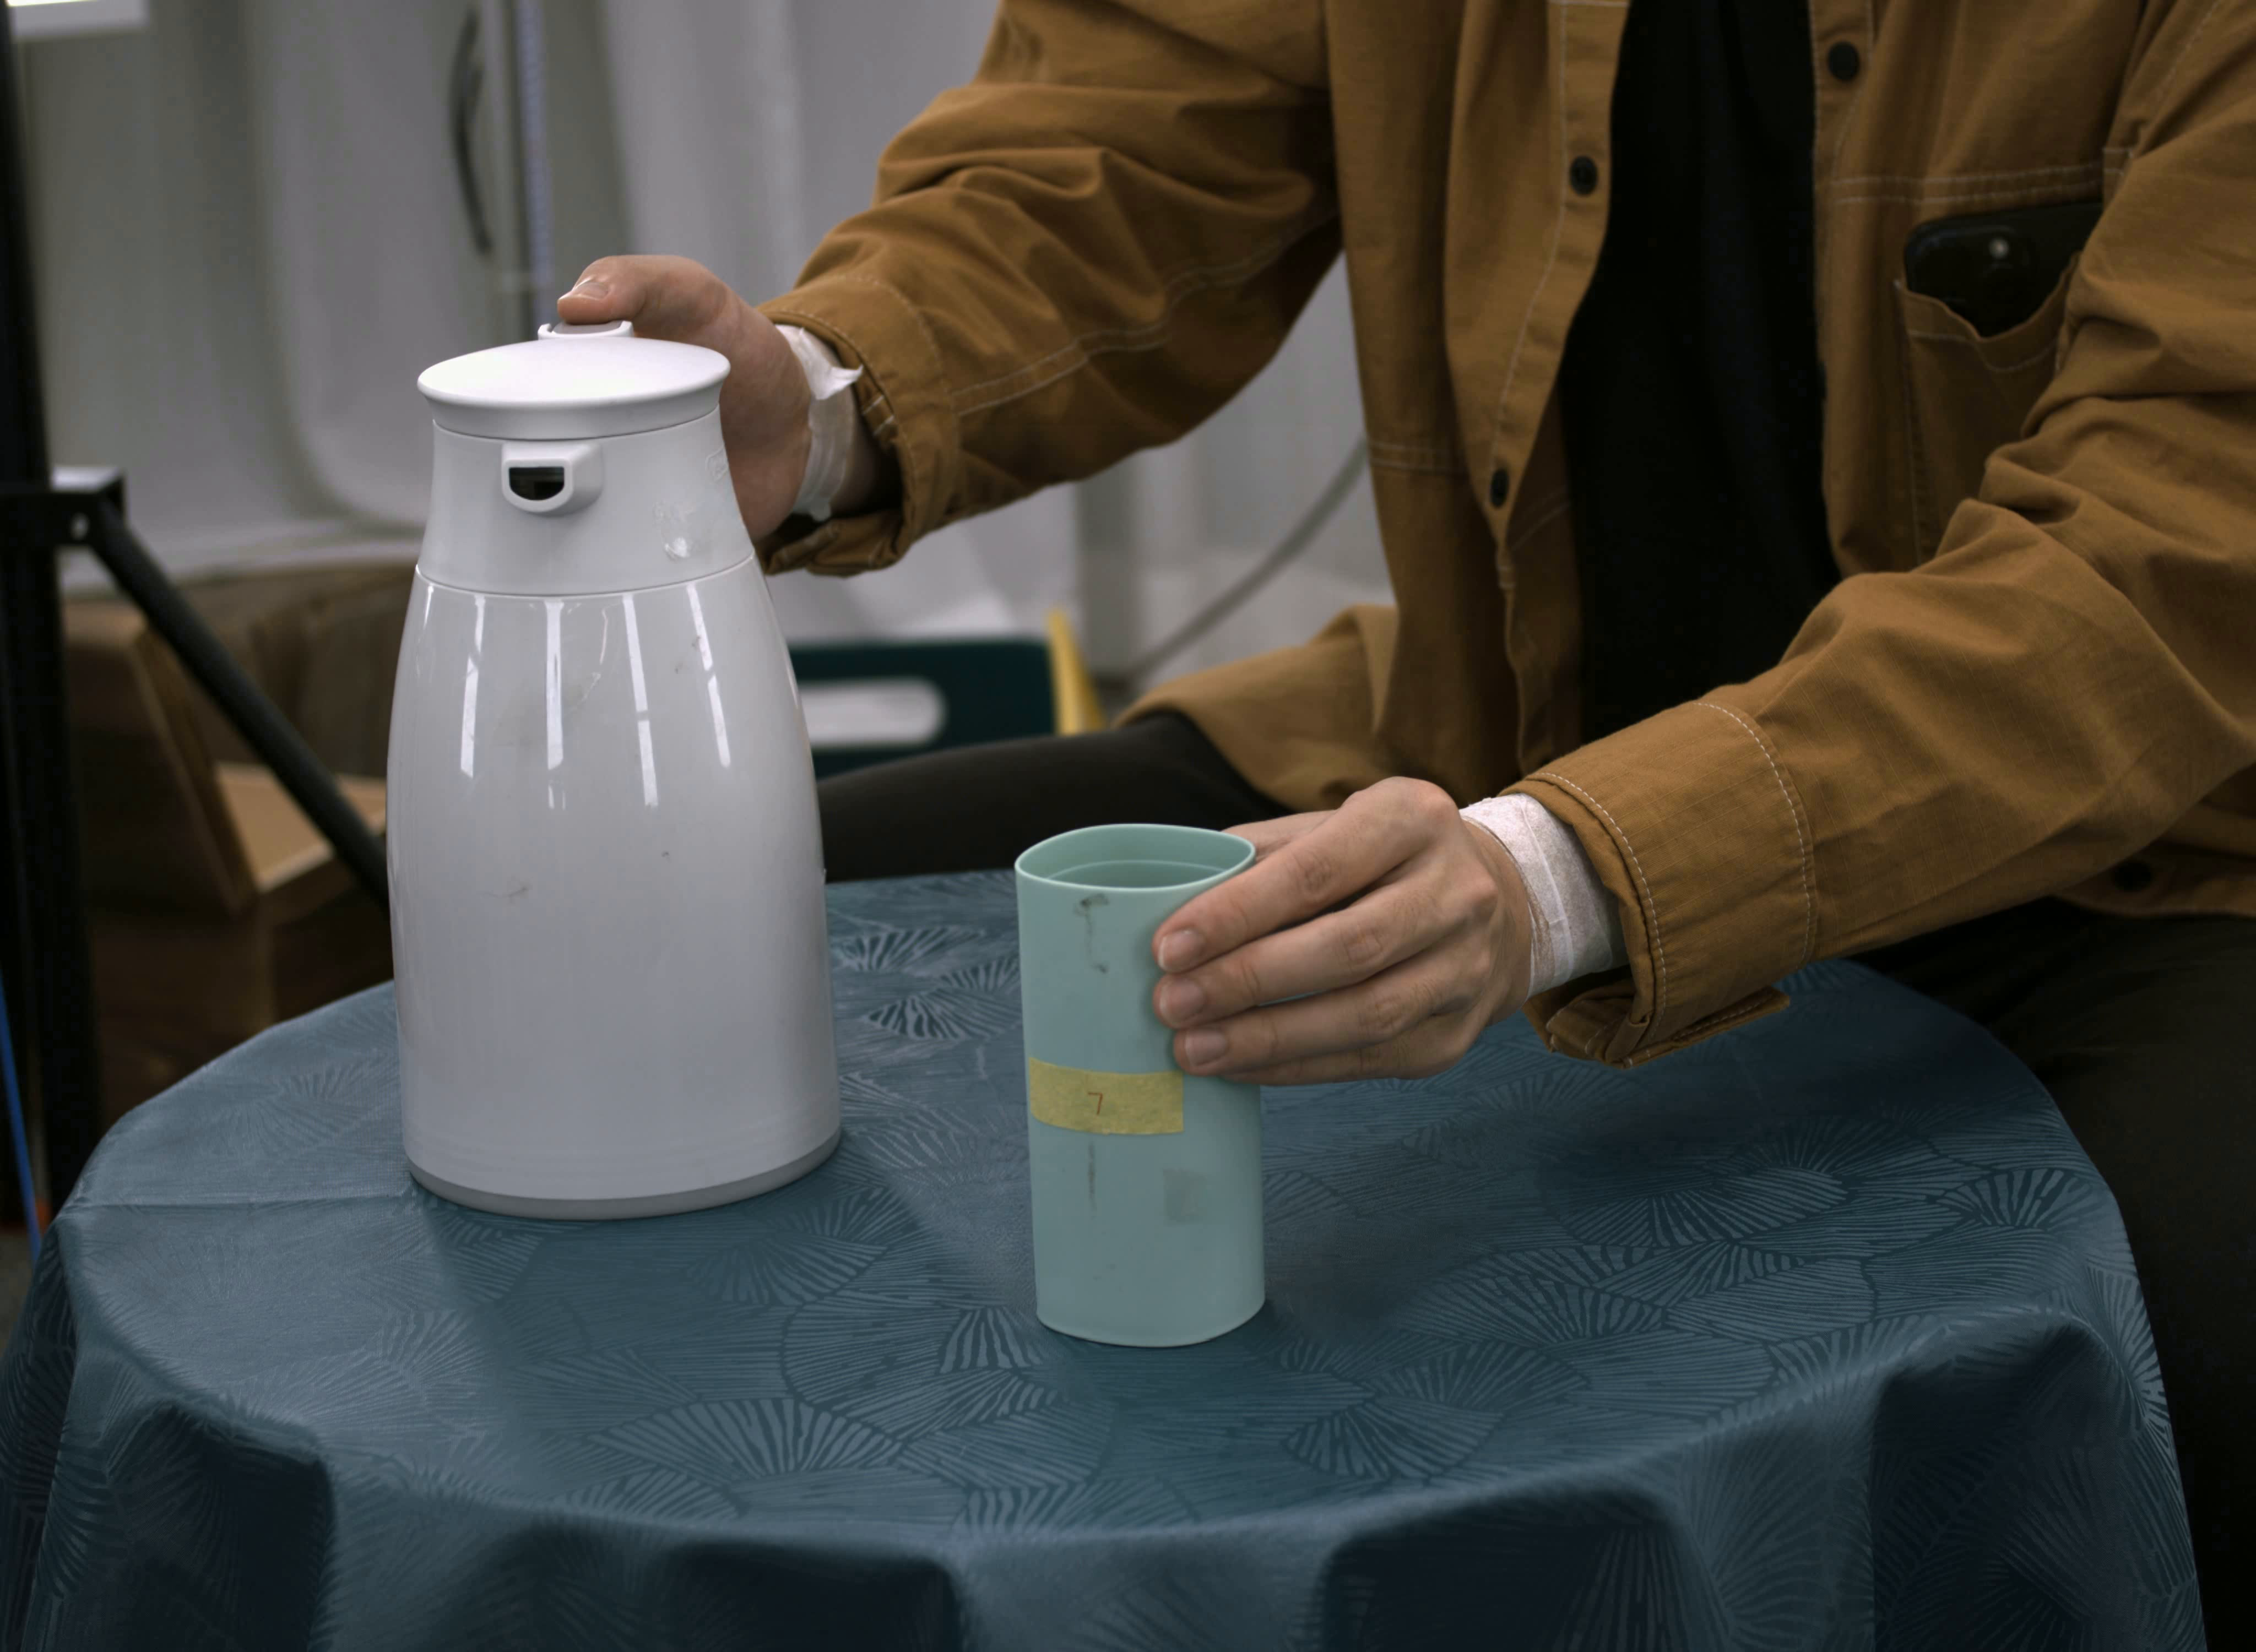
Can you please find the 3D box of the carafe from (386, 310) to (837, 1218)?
[{"bbox_3d":[-0.157,-0.027,1.603,0.132,0.248,0.167,-1,14,5],"label":"carafe"}]

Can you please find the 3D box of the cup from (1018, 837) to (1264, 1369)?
[{"bbox_3d":[0.006,0.074,1.447,0.066,0.132,0.067,-2,15,-1],"label":"cup"}]
